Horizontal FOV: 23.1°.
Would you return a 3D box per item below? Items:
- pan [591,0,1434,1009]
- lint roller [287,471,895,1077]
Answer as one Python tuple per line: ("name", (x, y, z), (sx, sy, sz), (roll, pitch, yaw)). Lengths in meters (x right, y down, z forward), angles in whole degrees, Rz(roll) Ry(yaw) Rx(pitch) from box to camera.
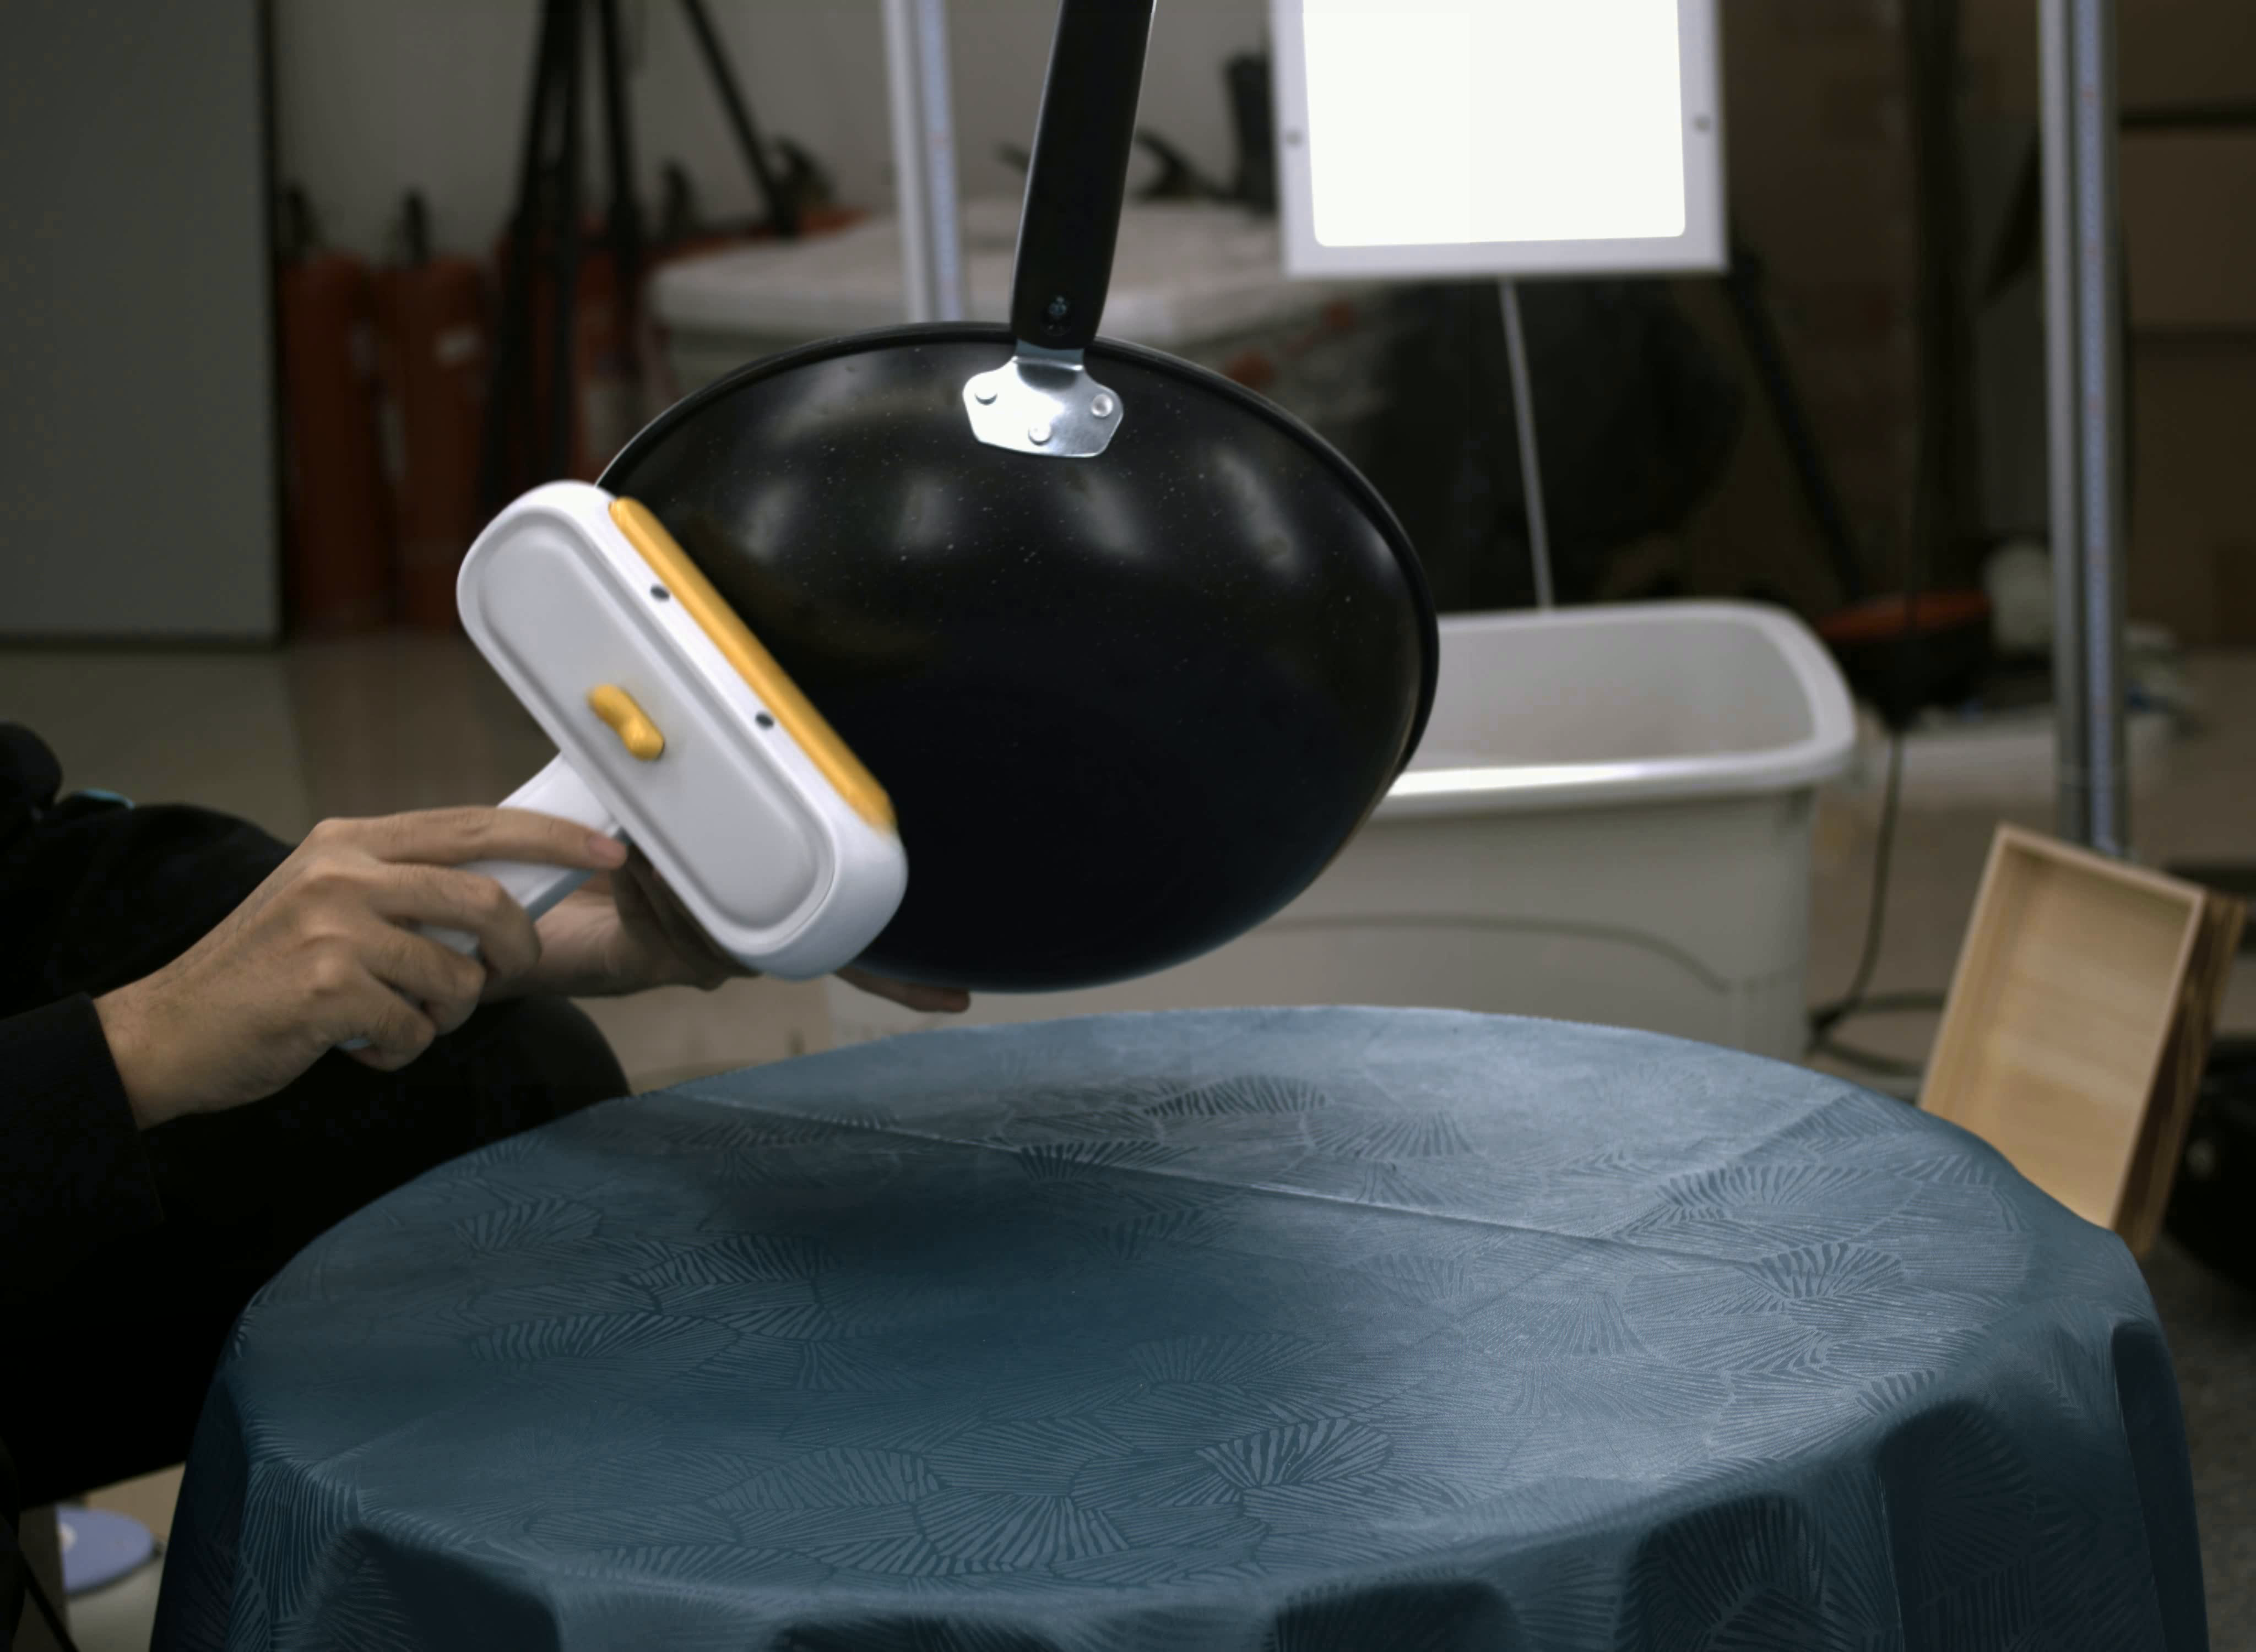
("pan", (-0.037, -0.093, 1.843), (0.308, 0.481, 0.111), (7, 49, -4))
("lint roller", (-0.196, 0.006, 1.816), (0.193, 0.194, 0.073), (-46, -14, 7))
